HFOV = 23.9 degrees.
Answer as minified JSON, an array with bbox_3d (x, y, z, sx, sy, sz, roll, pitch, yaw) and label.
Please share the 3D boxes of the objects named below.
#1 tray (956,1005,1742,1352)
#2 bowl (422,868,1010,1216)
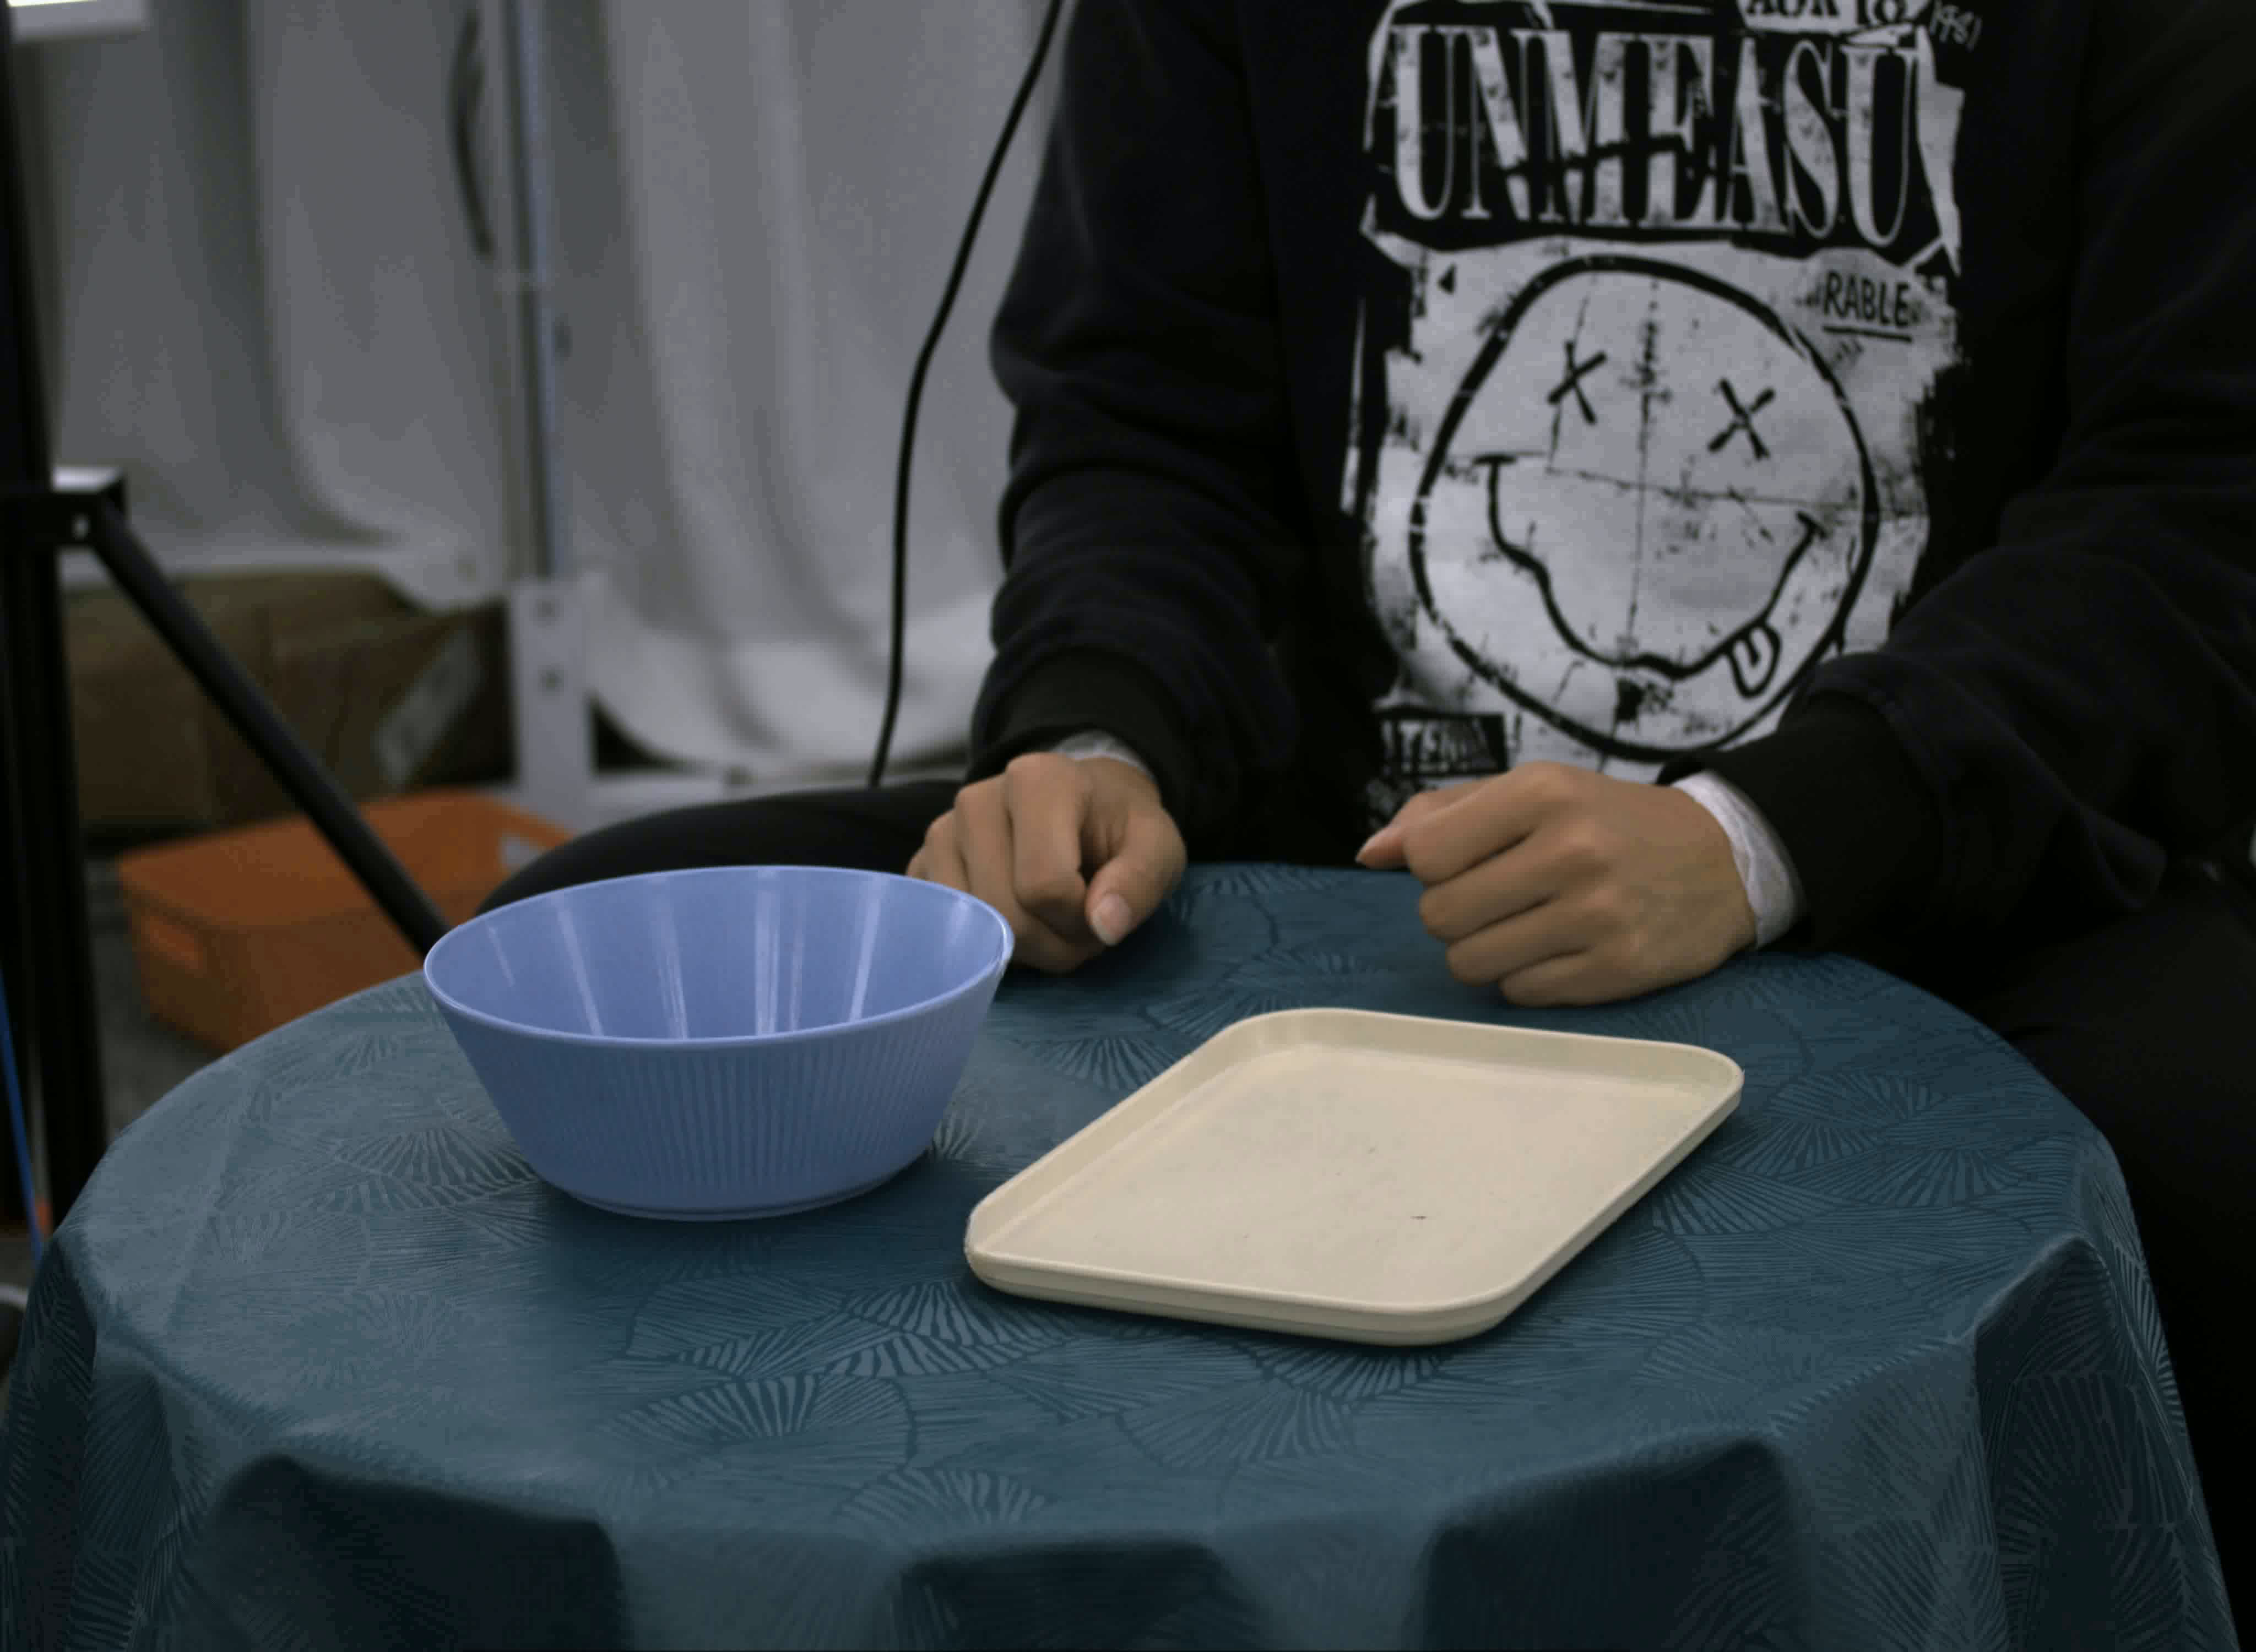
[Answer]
[{"bbox_3d":[0.068,0.101,1.540,0.174,0.017,0.236,6,18,26],"label":"tray"},{"bbox_3d":[-0.122,0.067,1.594,0.175,0.070,0.177,-2,16,-1],"label":"bowl"}]
